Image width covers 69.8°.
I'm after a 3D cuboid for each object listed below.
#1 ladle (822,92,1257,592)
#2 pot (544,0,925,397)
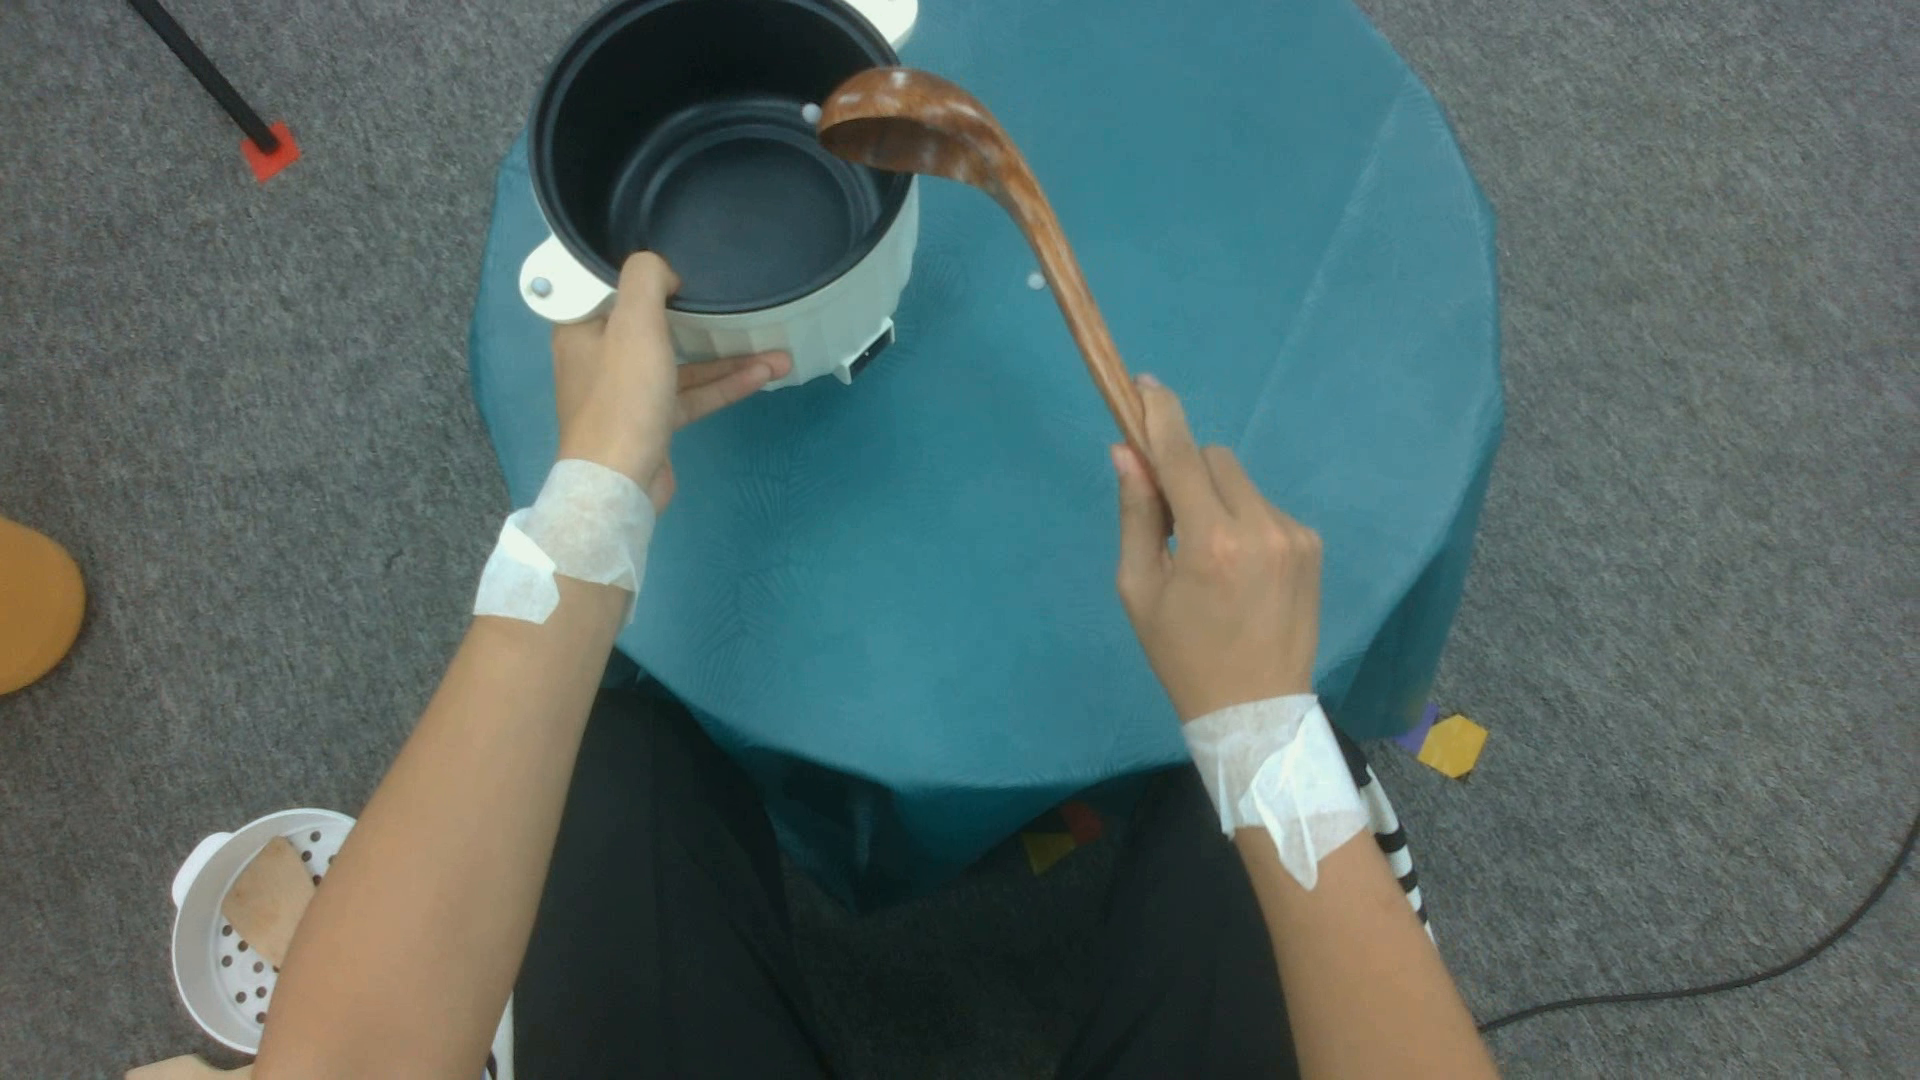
[{"bbox_3d":[0.033,-0.081,0.613,0.076,0.082,0.274,-29,91,5],"label":"ladle"},{"bbox_3d":[-0.113,-0.172,0.723,0.190,0.142,0.241,42,77,7],"label":"pot"}]
